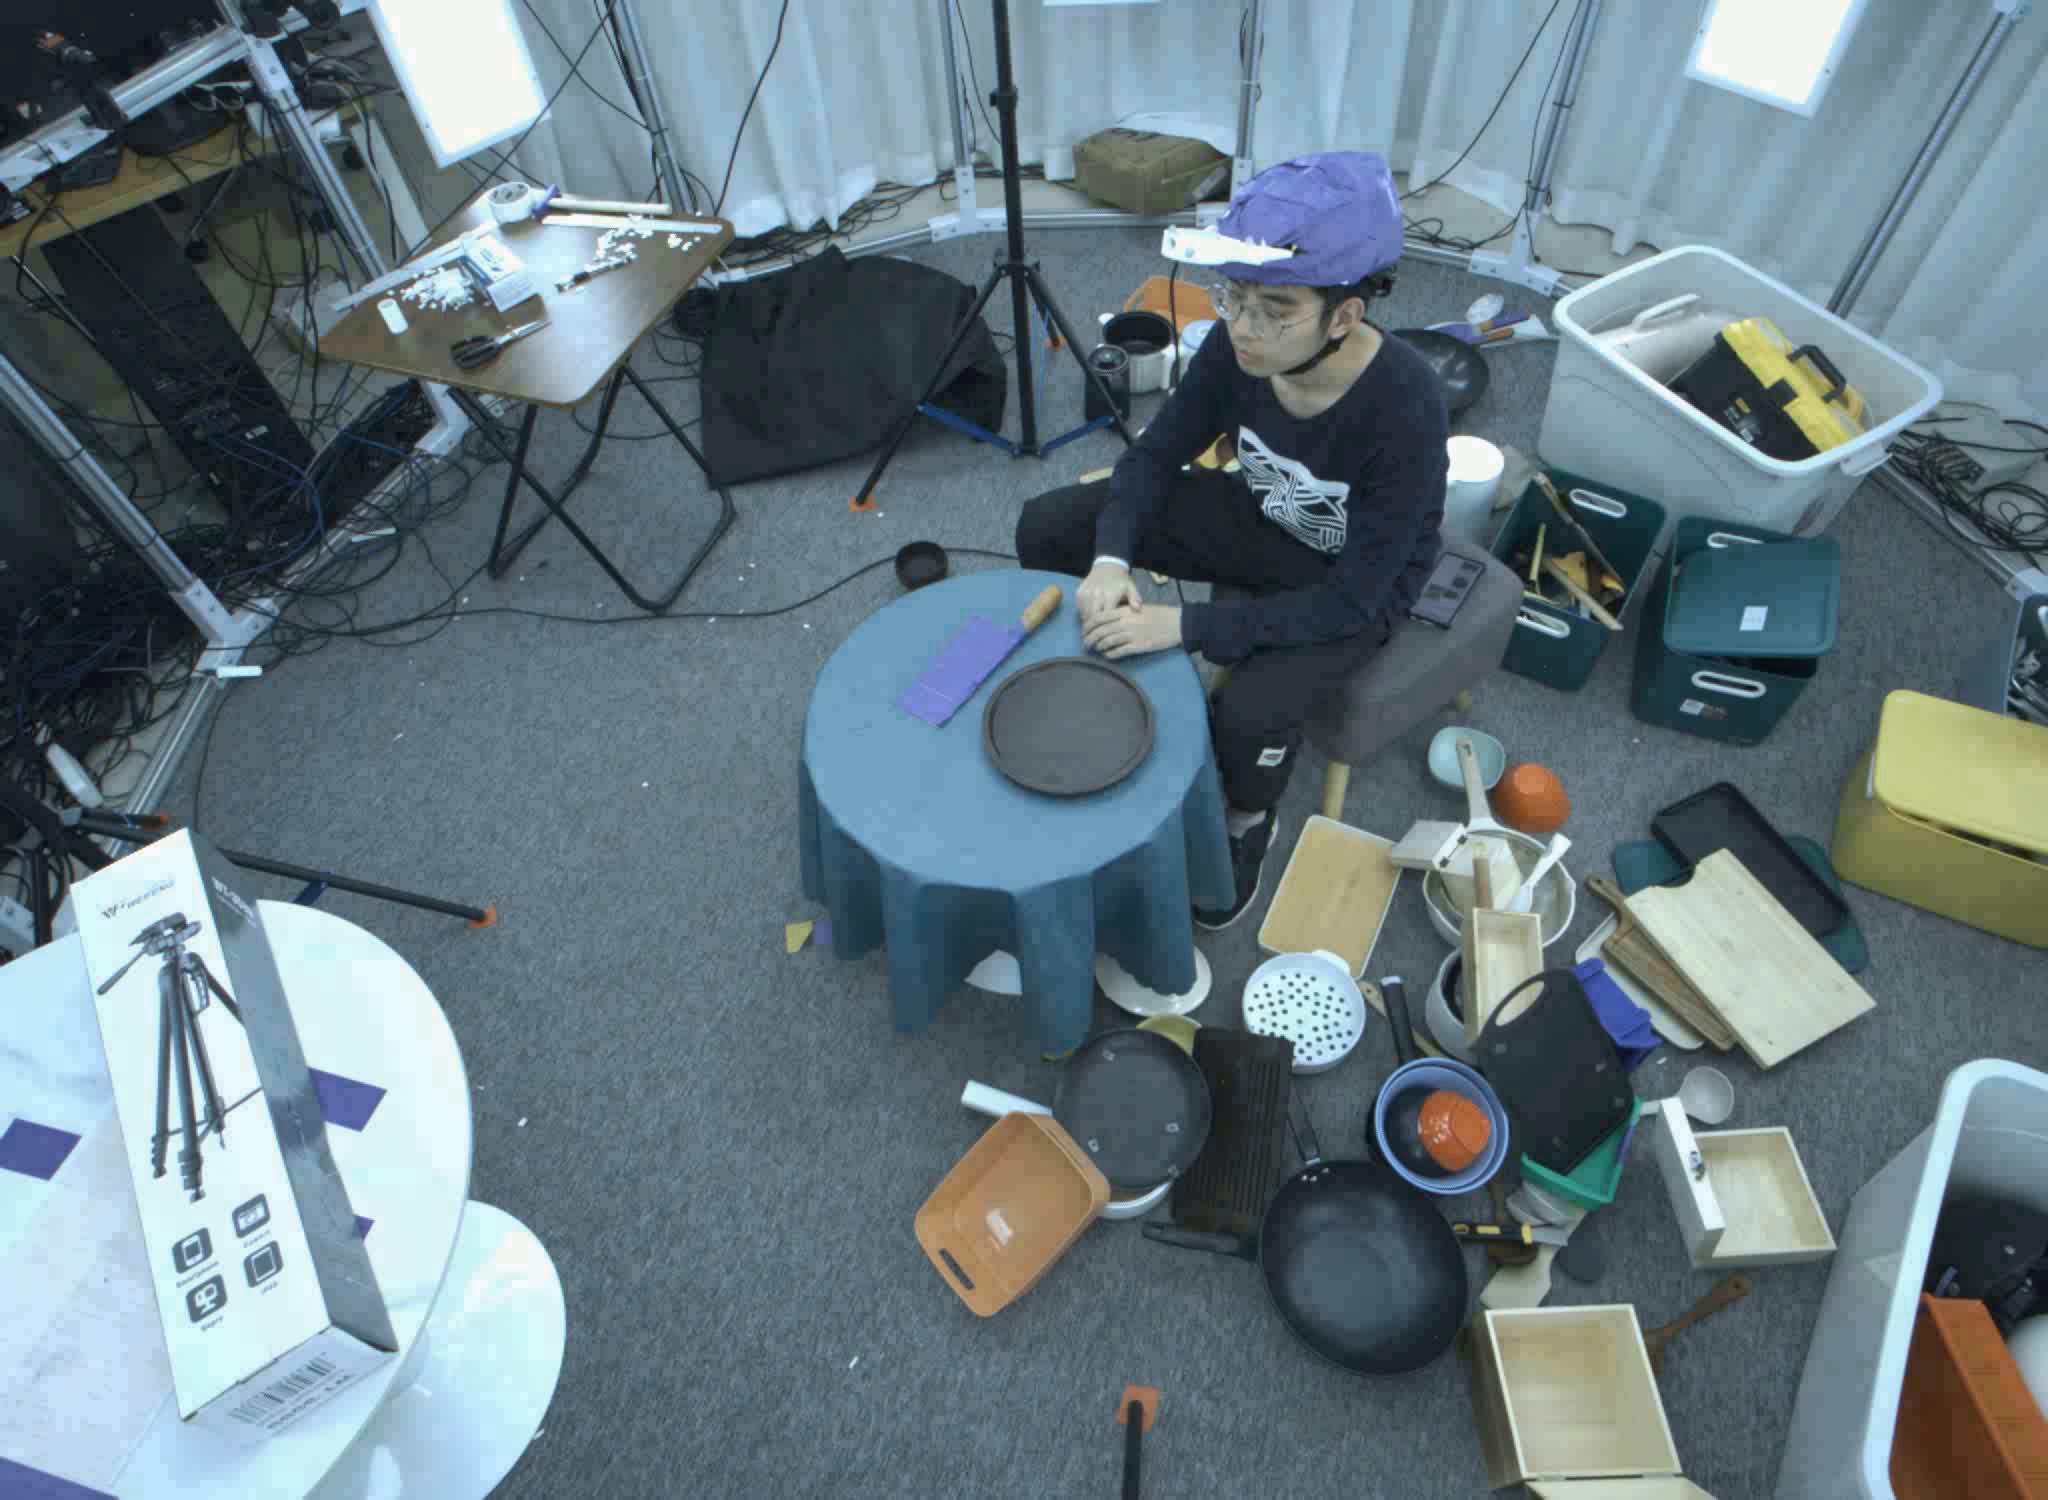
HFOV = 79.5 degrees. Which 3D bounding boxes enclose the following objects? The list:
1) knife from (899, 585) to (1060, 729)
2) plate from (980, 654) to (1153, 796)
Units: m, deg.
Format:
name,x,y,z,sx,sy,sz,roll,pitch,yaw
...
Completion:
name,x,y,z,sx,sy,sz,roll,pitch,yaw
knife,-0.070,-0.160,1.895,0.102,0.032,0.317,30,61,21
plate,0.062,-0.037,1.805,0.254,0.029,0.252,0,55,2
